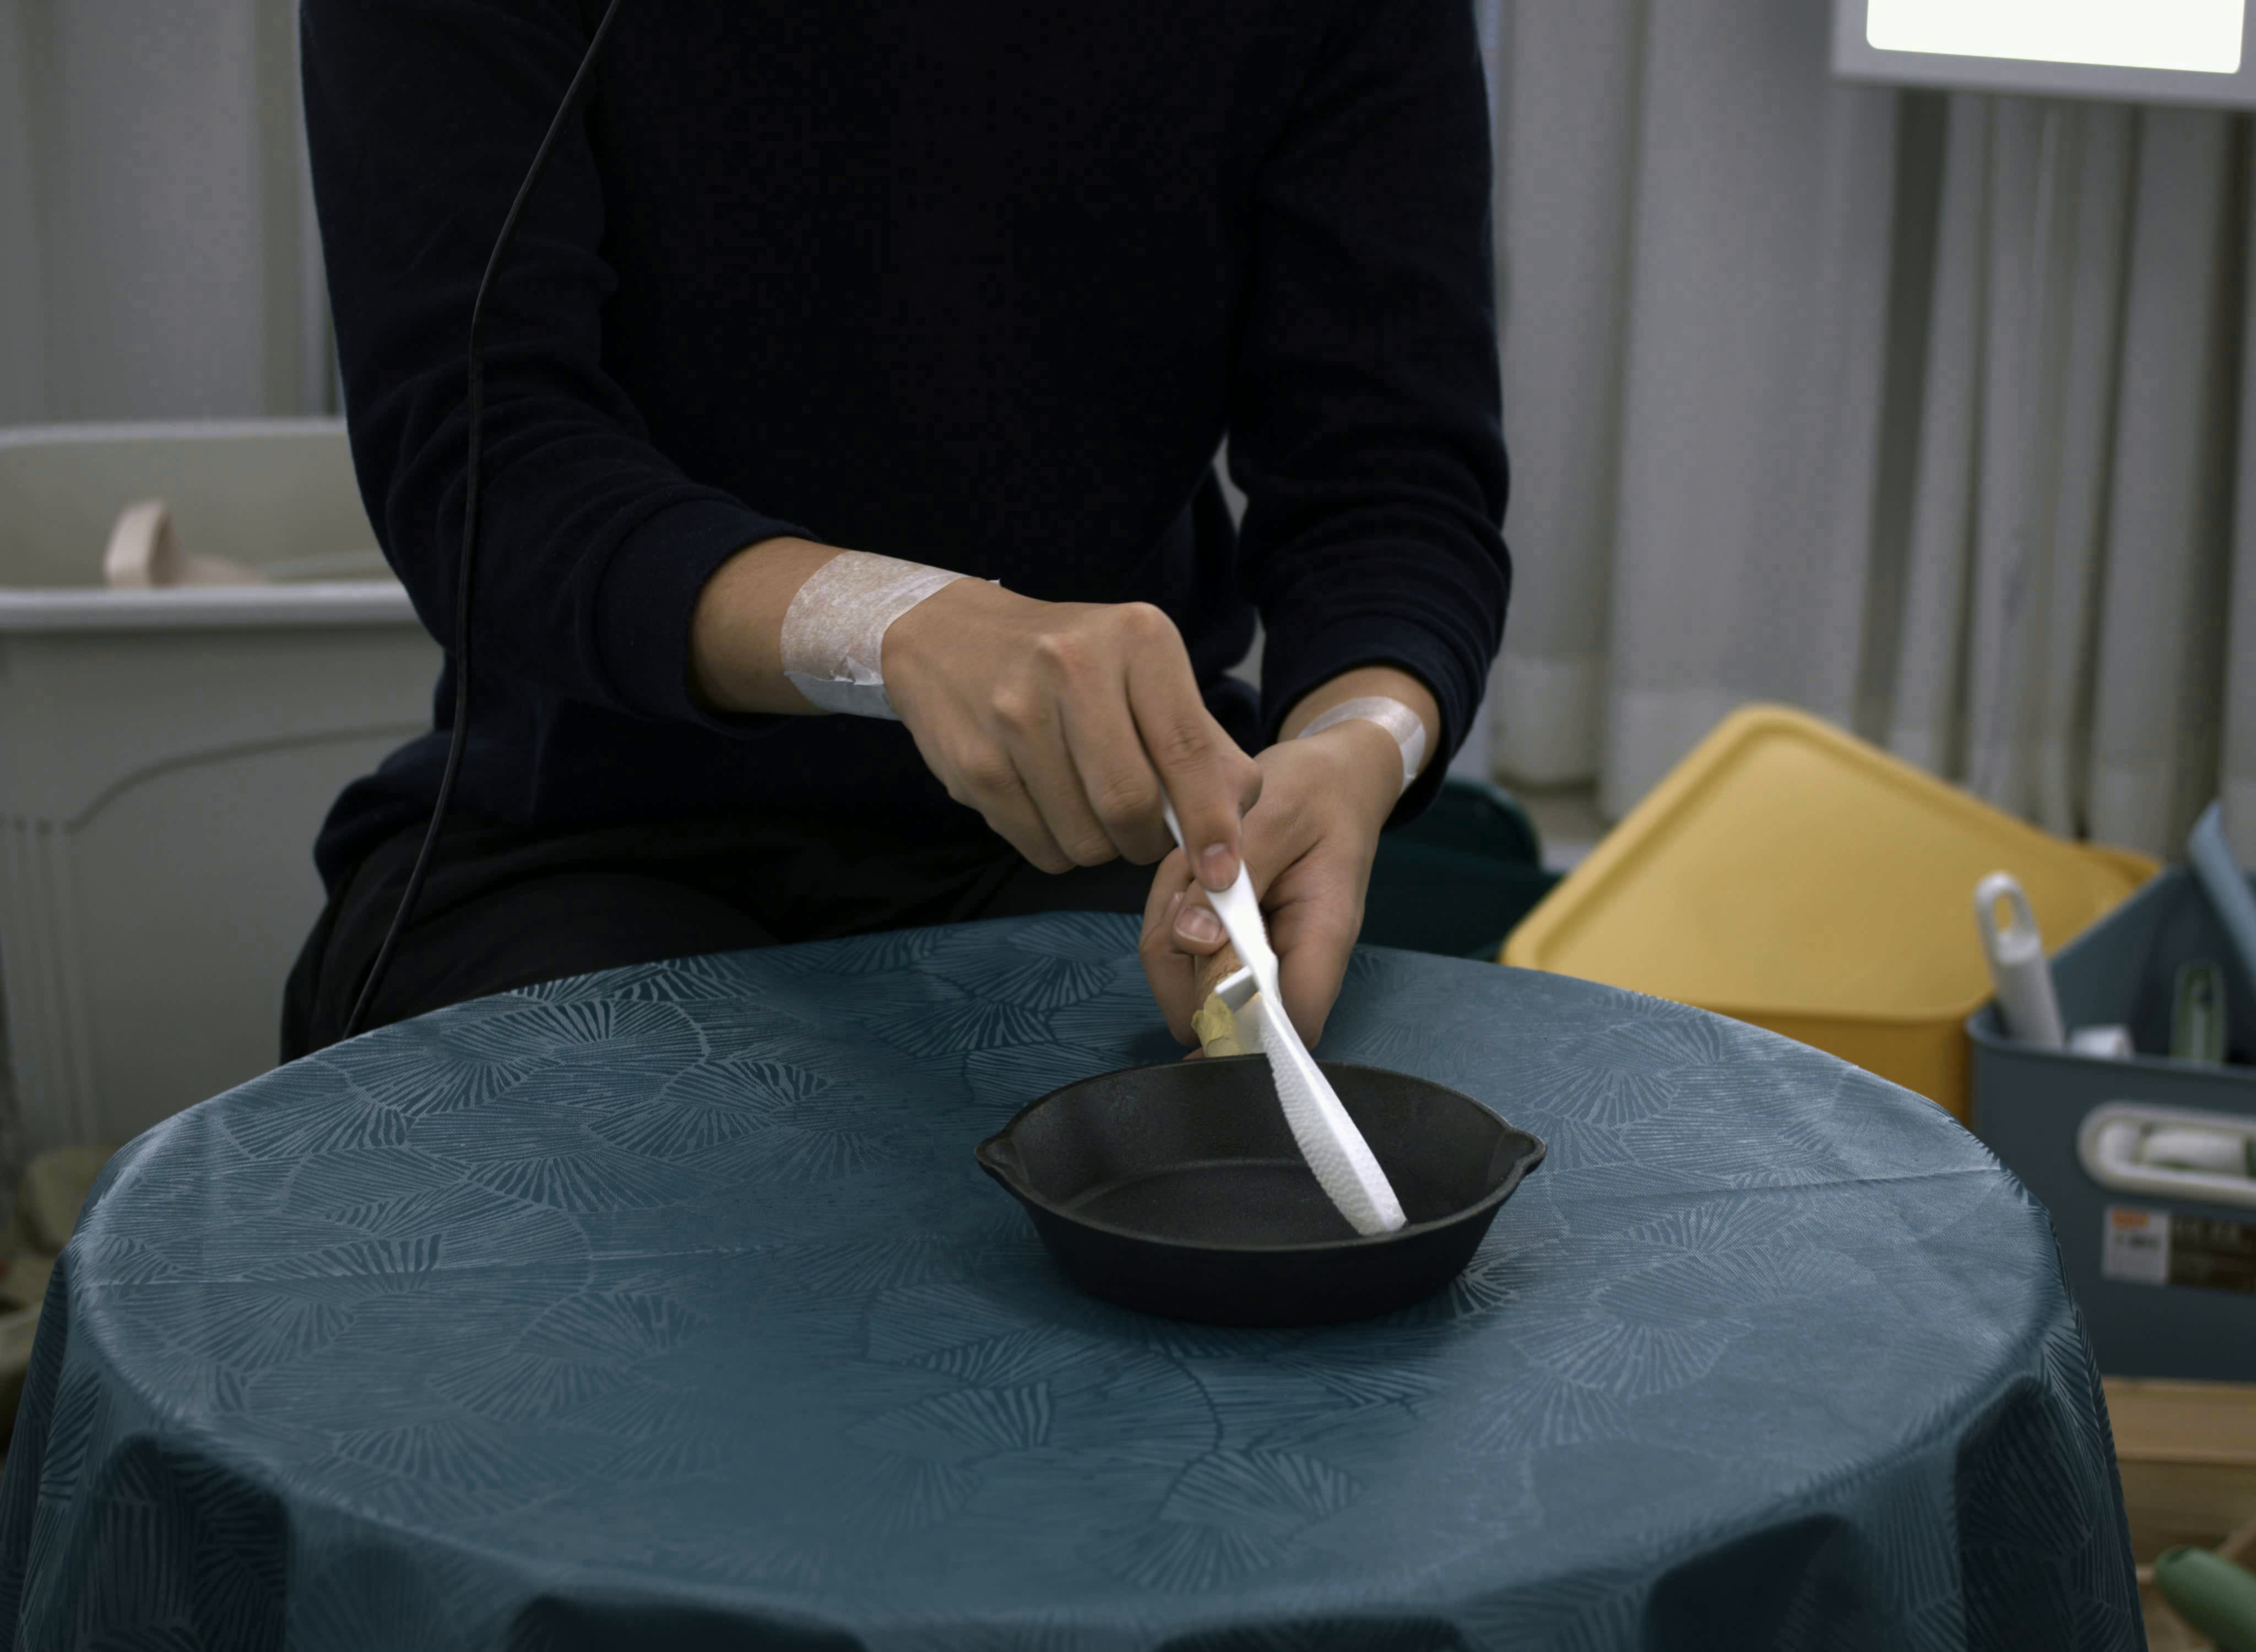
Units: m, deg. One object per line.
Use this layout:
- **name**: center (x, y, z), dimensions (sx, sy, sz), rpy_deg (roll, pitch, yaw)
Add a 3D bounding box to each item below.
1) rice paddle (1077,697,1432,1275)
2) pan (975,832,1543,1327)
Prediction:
- **rice paddle**: center (0.043, 0.049, 1.569), dimensions (0.029, 0.203, 0.069), rpy_deg (-32, -26, 5)
- **pan**: center (0.039, 0.075, 1.640), dimensions (0.168, 0.050, 0.322), rpy_deg (0, 19, 0)
